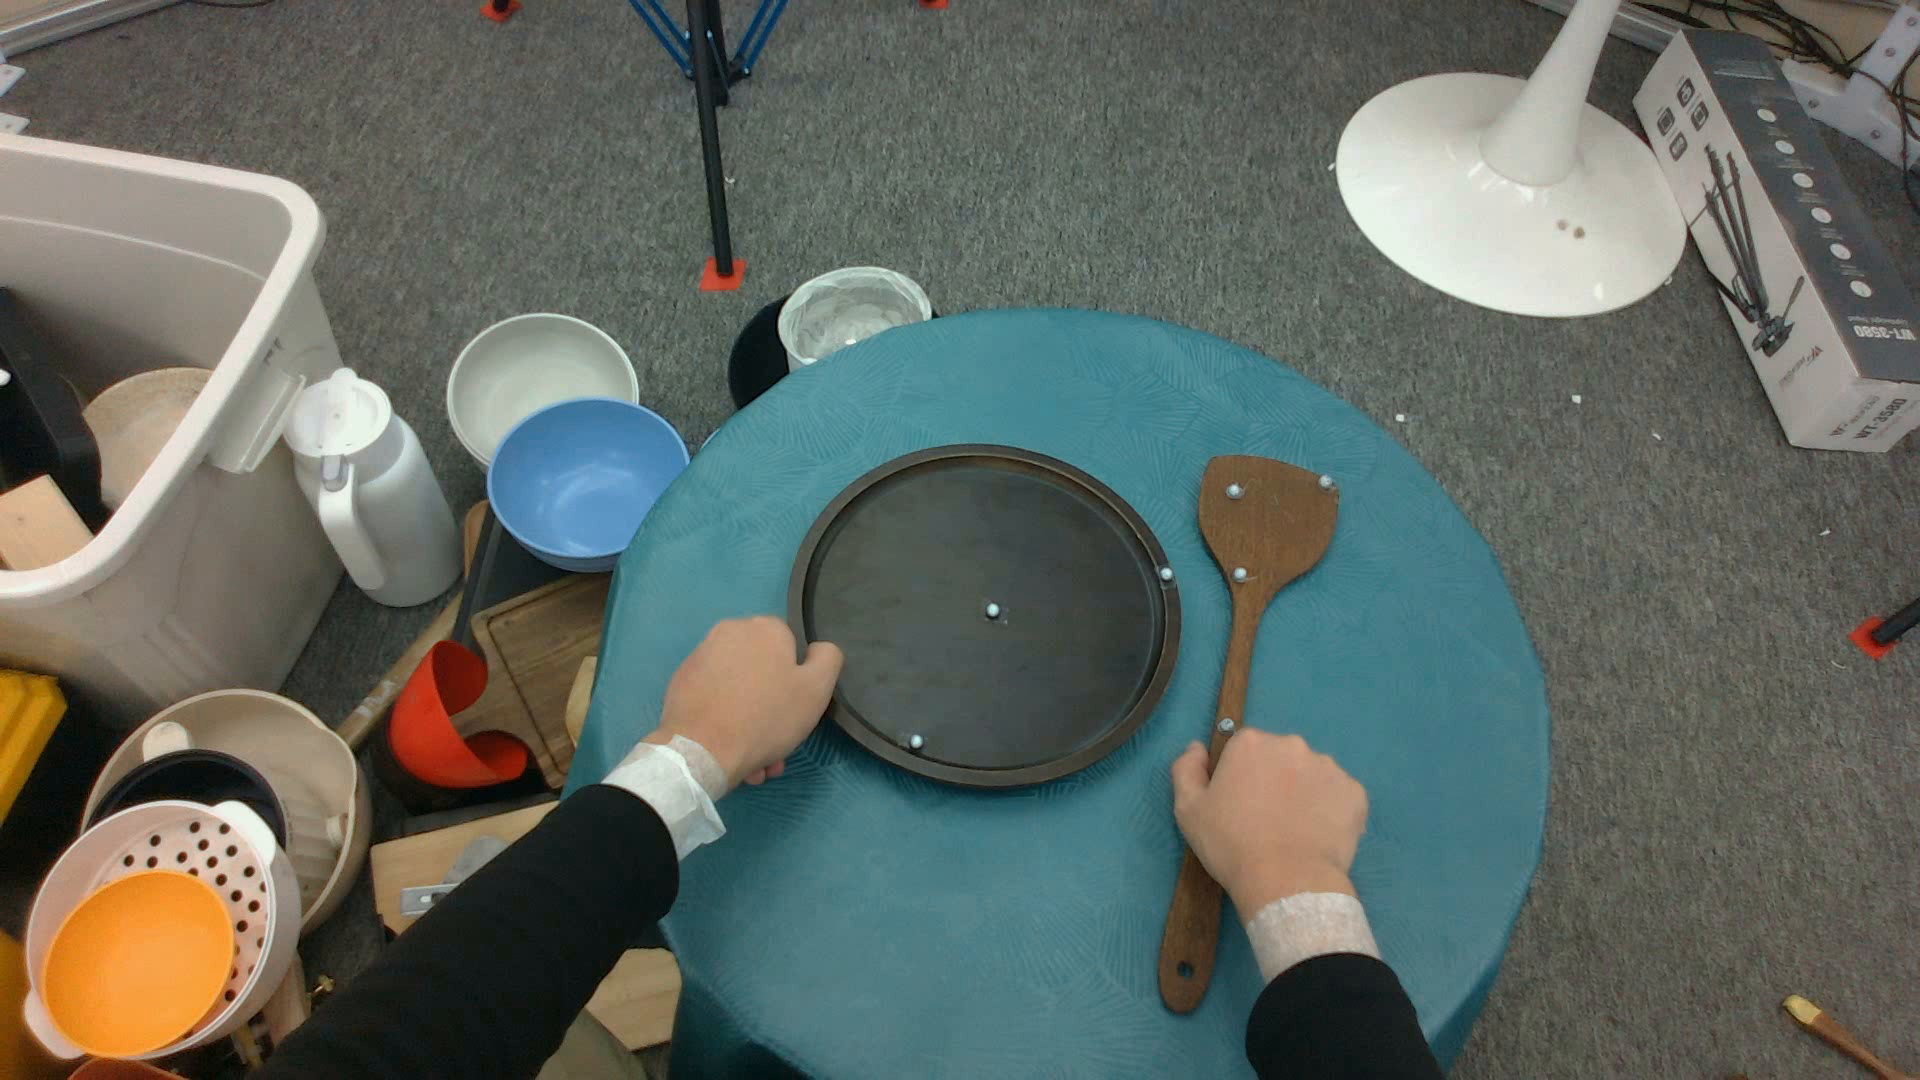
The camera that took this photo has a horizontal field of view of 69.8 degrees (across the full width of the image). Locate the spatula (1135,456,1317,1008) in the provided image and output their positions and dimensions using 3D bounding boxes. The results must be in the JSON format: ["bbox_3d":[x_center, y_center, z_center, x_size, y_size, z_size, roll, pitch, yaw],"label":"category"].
[{"bbox_3d":[0.156,0.100,0.860,0.096,0.016,0.388,14,57,5],"label":"spatula"}]

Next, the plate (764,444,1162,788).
[{"bbox_3d":[0.002,0.042,0.880,0.255,0.029,0.256,3,55,-4],"label":"plate"}]
